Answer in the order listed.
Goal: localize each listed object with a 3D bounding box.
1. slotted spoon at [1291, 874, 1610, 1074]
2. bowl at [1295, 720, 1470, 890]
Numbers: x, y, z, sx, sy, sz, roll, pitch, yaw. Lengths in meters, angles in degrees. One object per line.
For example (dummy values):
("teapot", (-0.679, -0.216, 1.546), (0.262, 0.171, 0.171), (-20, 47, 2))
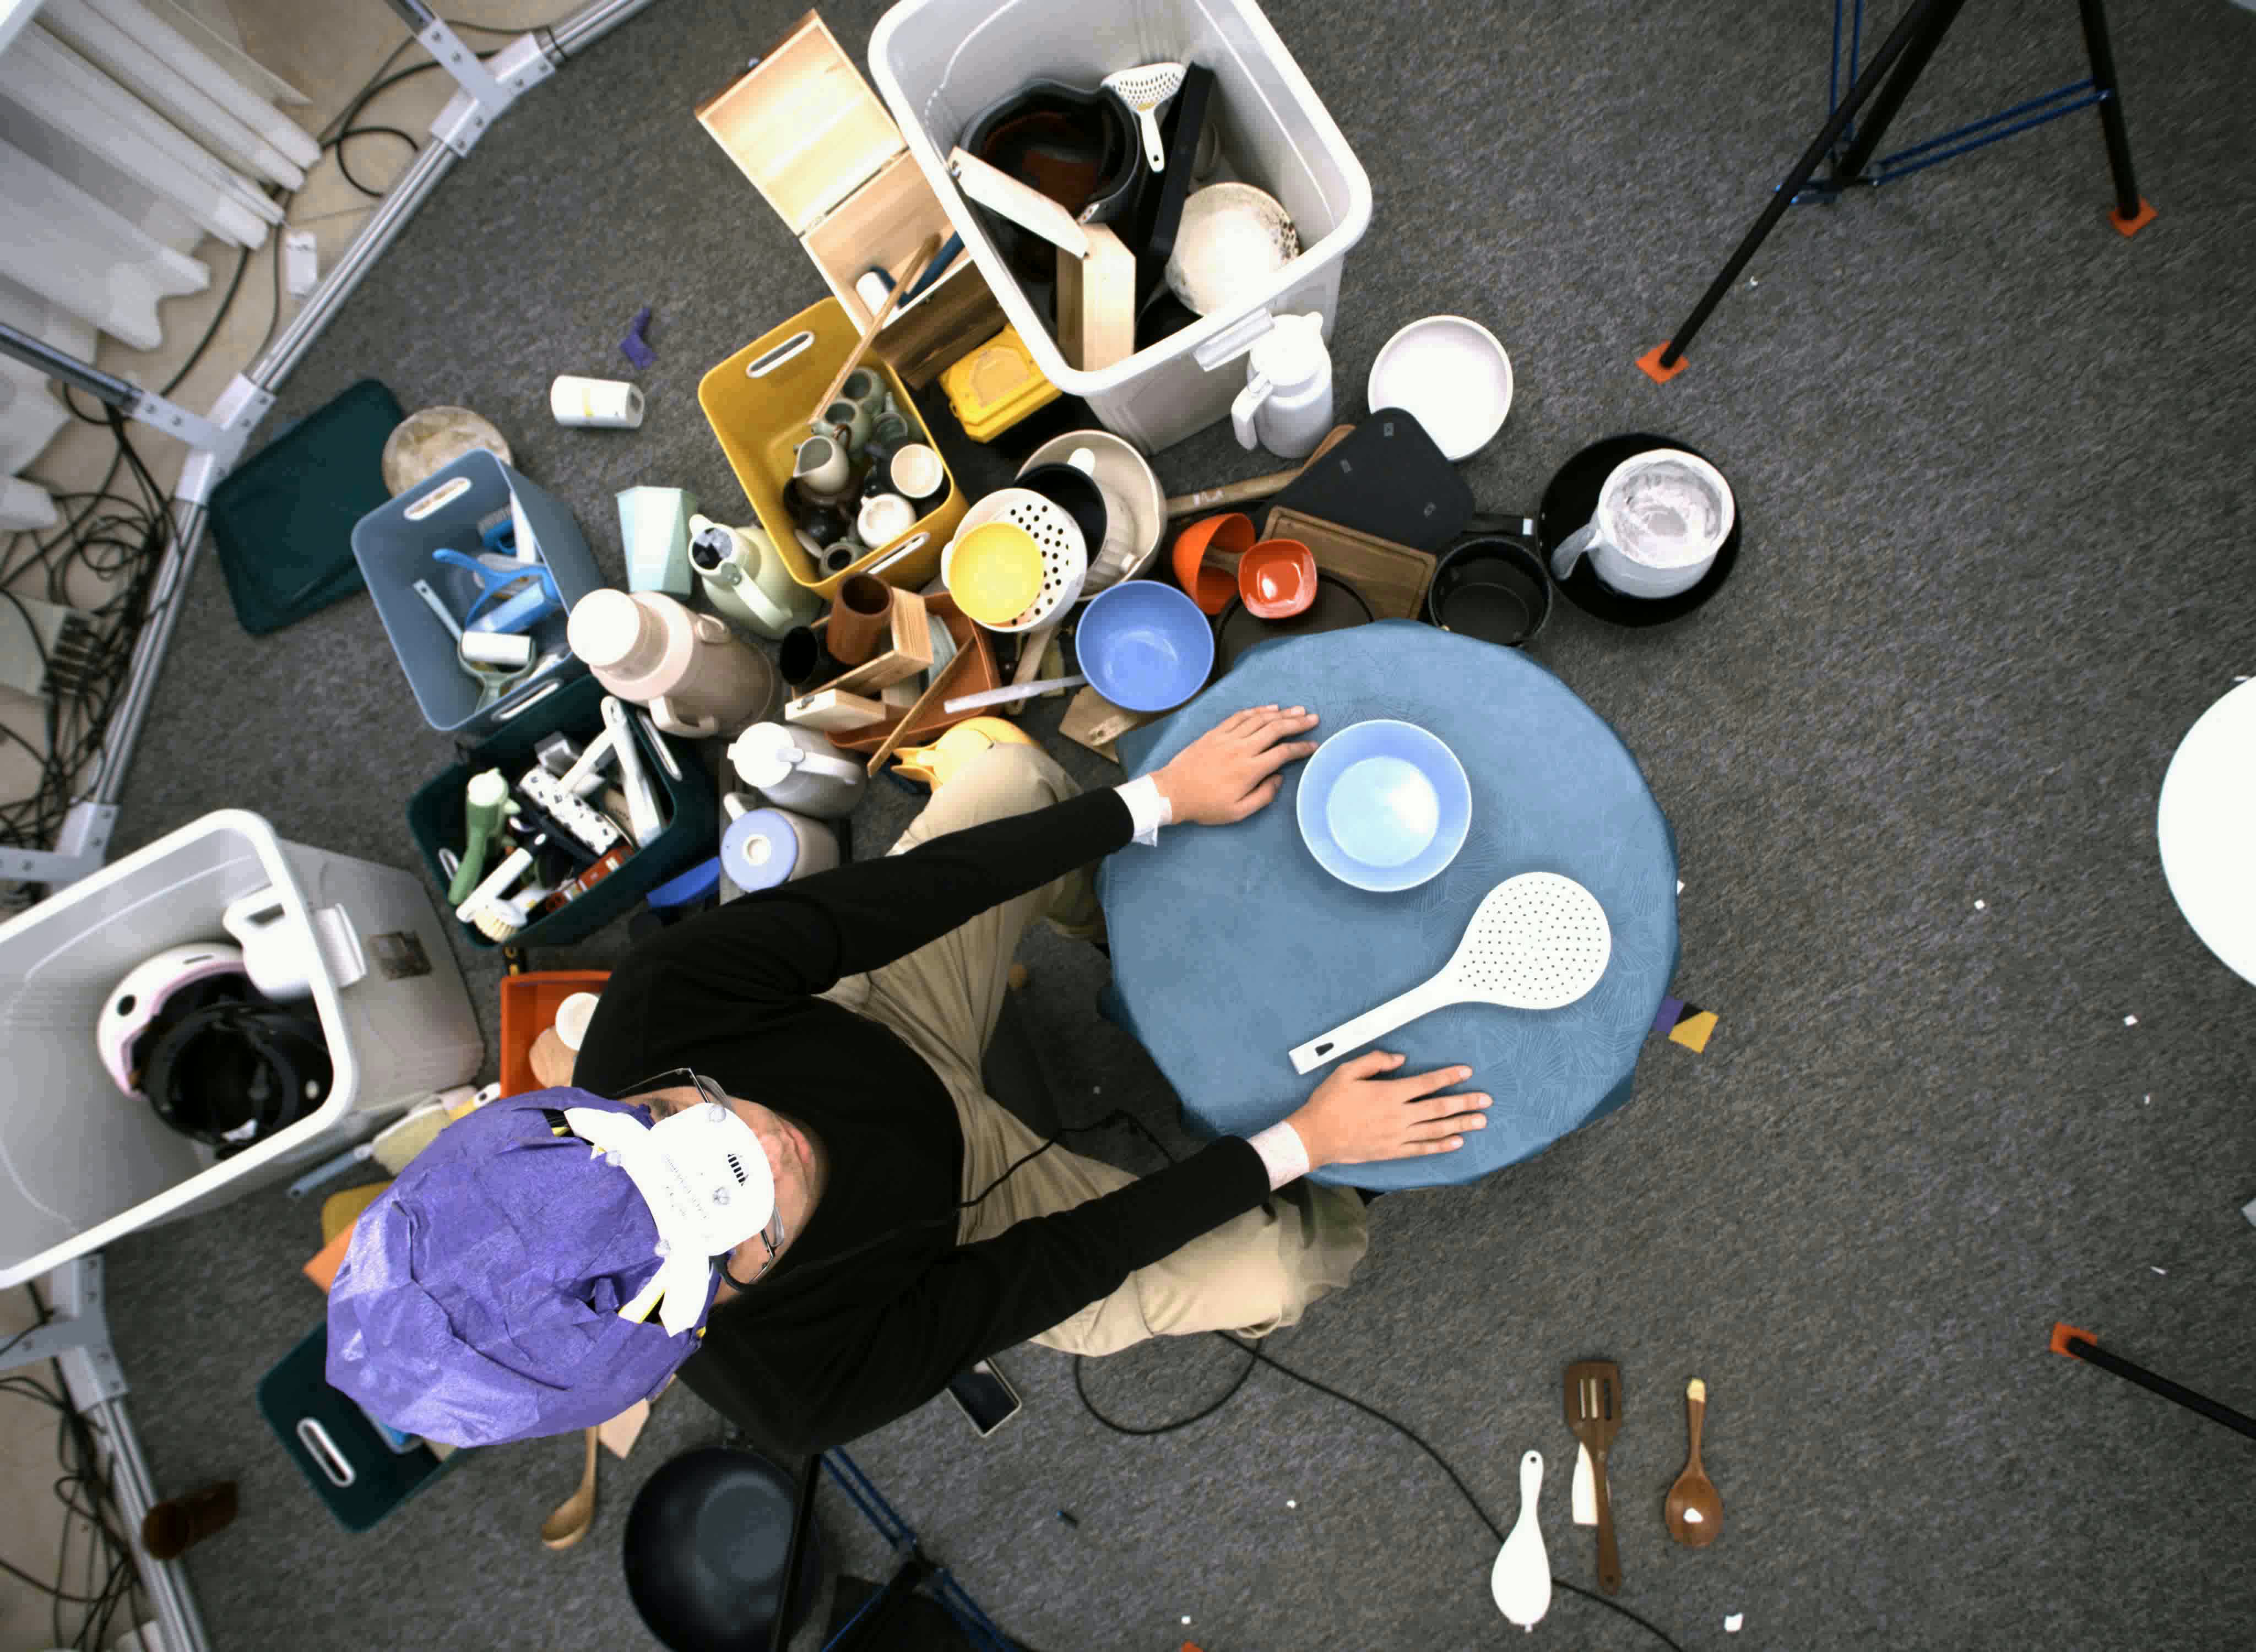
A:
("slotted spoon", (0.326, 0.167, 1.421), (0.352, 0.046, 0.135), (-29, 82, 9))
("bowl", (0.263, -0.020, 1.431), (0.177, 0.070, 0.175), (-1, 86, 11))
